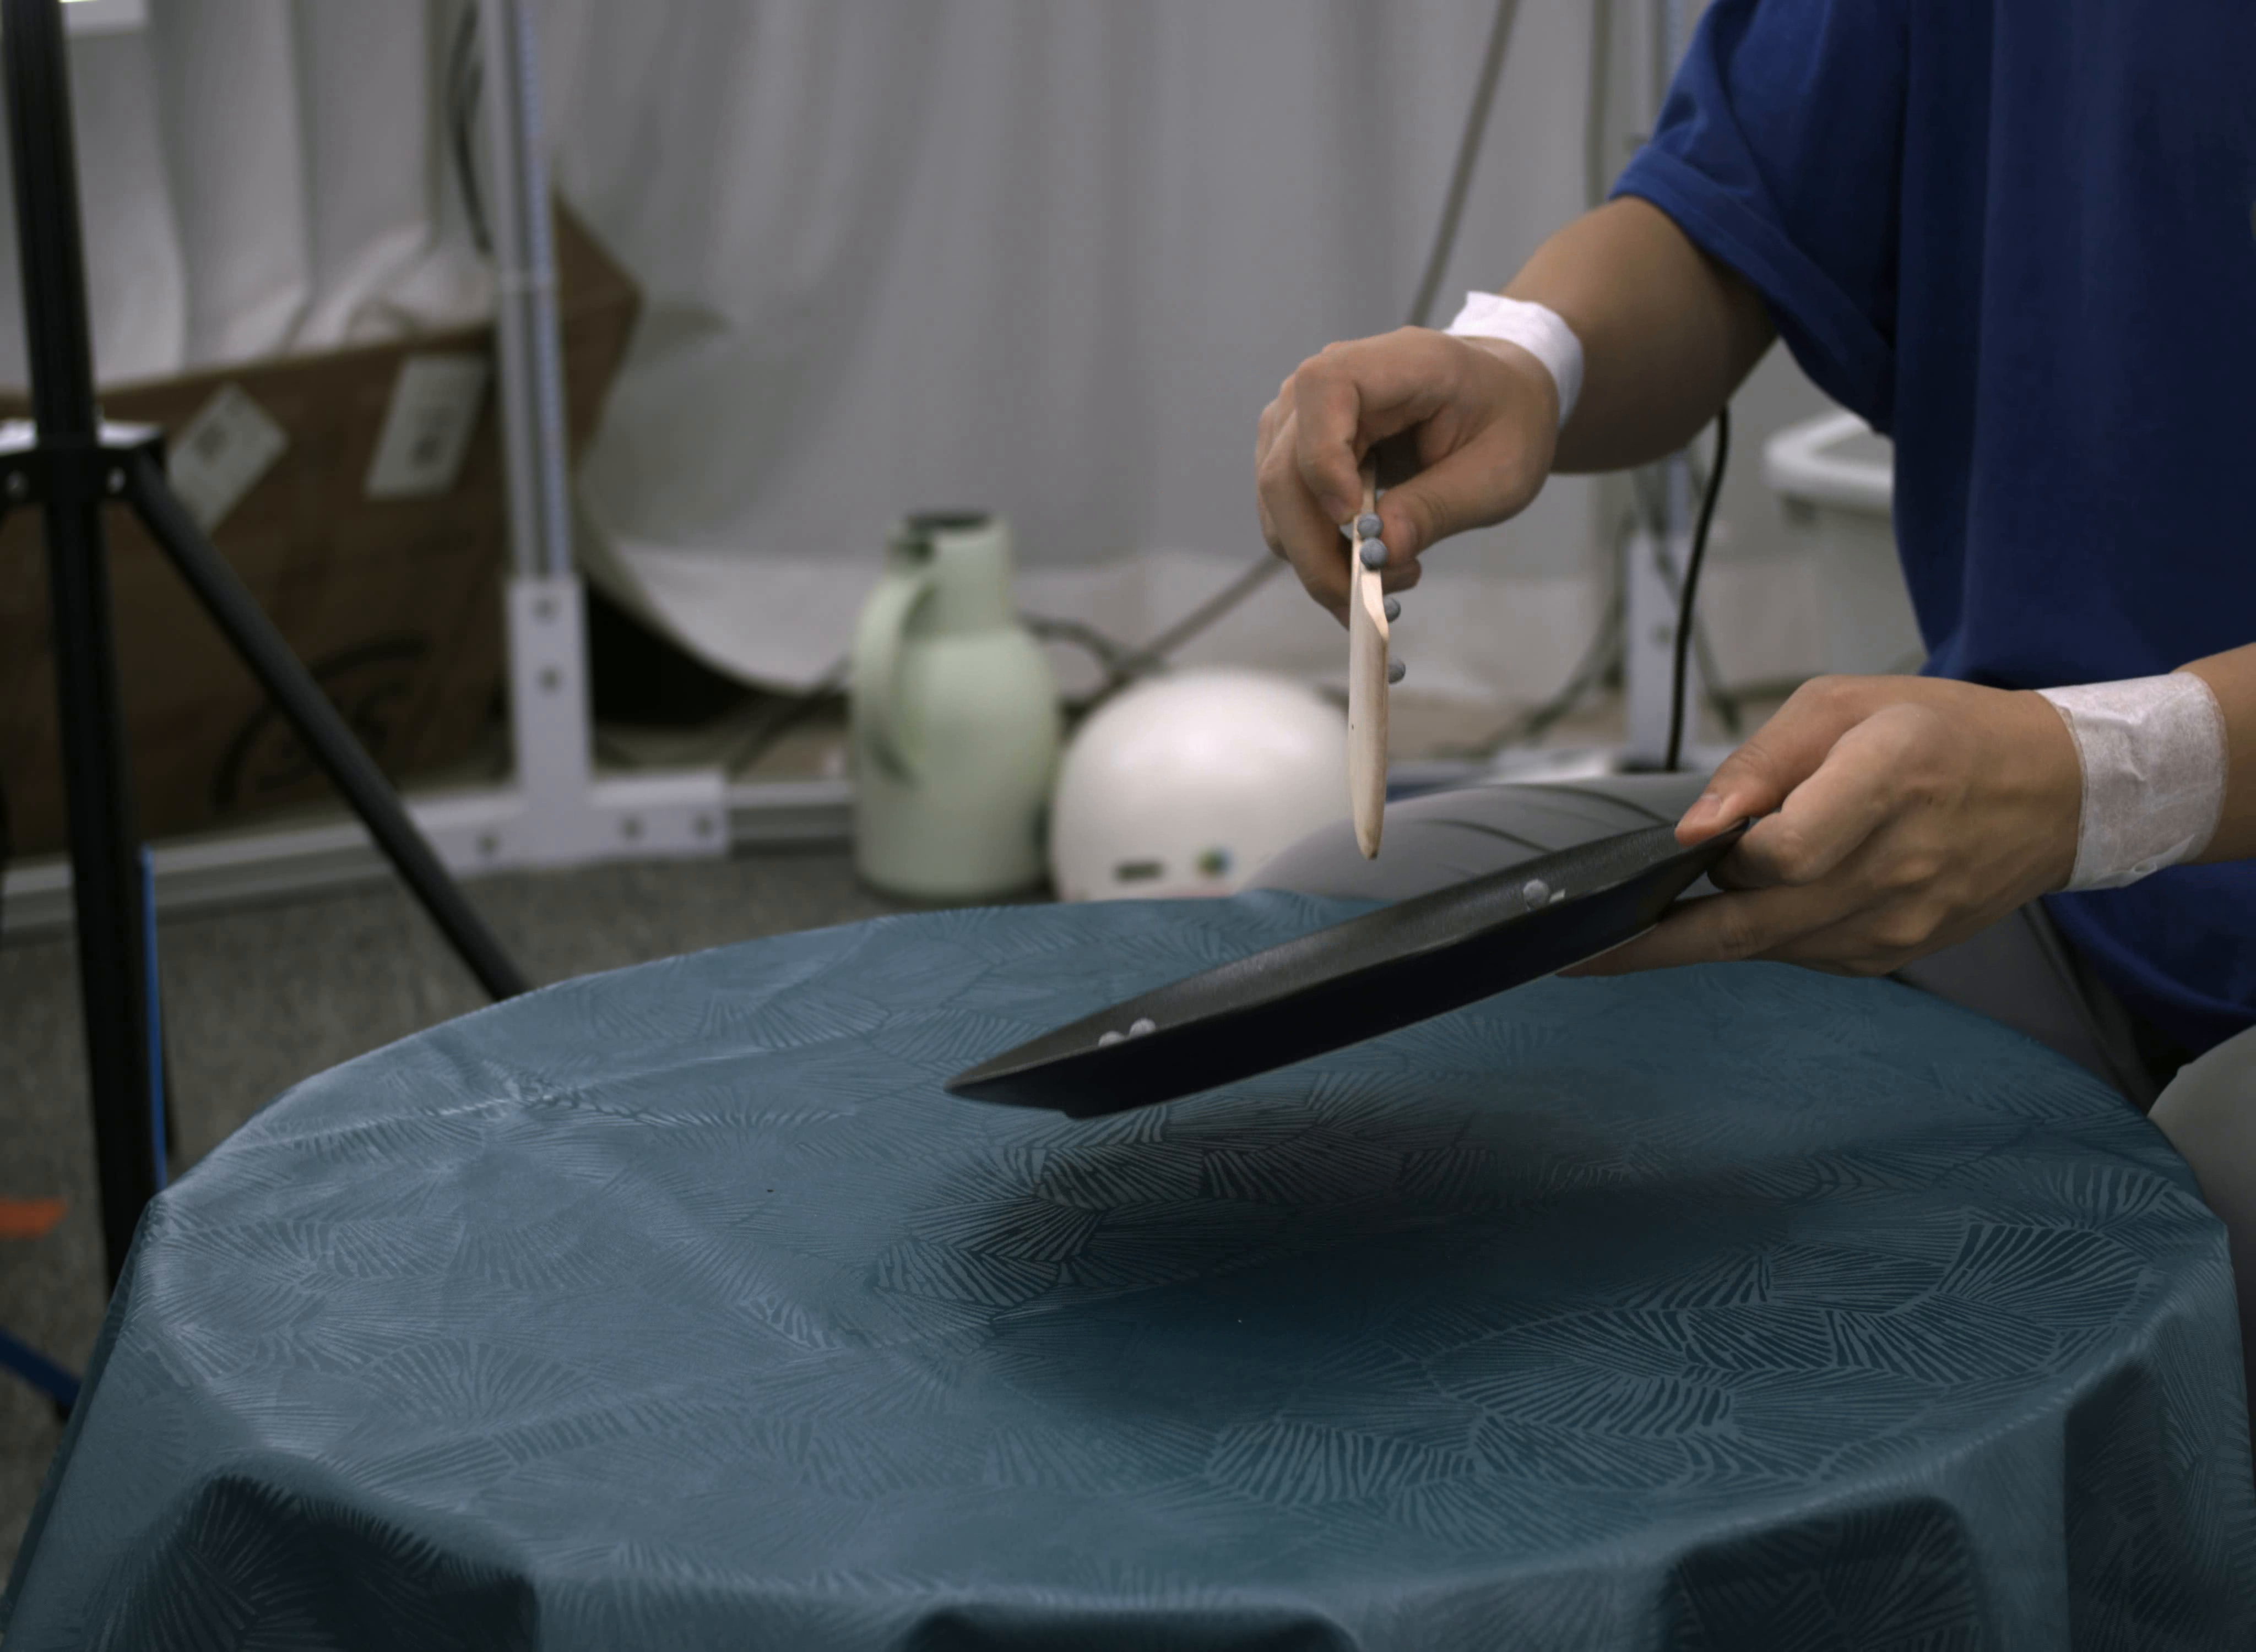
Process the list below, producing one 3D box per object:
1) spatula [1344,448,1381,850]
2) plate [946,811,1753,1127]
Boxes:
[{"bbox_3d":[0.072,-0.070,1.615,0.010,0.072,0.293,1,18,2],"label":"spatula"},{"bbox_3d":[0.065,0.046,1.515,0.243,0.023,0.244,-19,1,-1],"label":"plate"}]
